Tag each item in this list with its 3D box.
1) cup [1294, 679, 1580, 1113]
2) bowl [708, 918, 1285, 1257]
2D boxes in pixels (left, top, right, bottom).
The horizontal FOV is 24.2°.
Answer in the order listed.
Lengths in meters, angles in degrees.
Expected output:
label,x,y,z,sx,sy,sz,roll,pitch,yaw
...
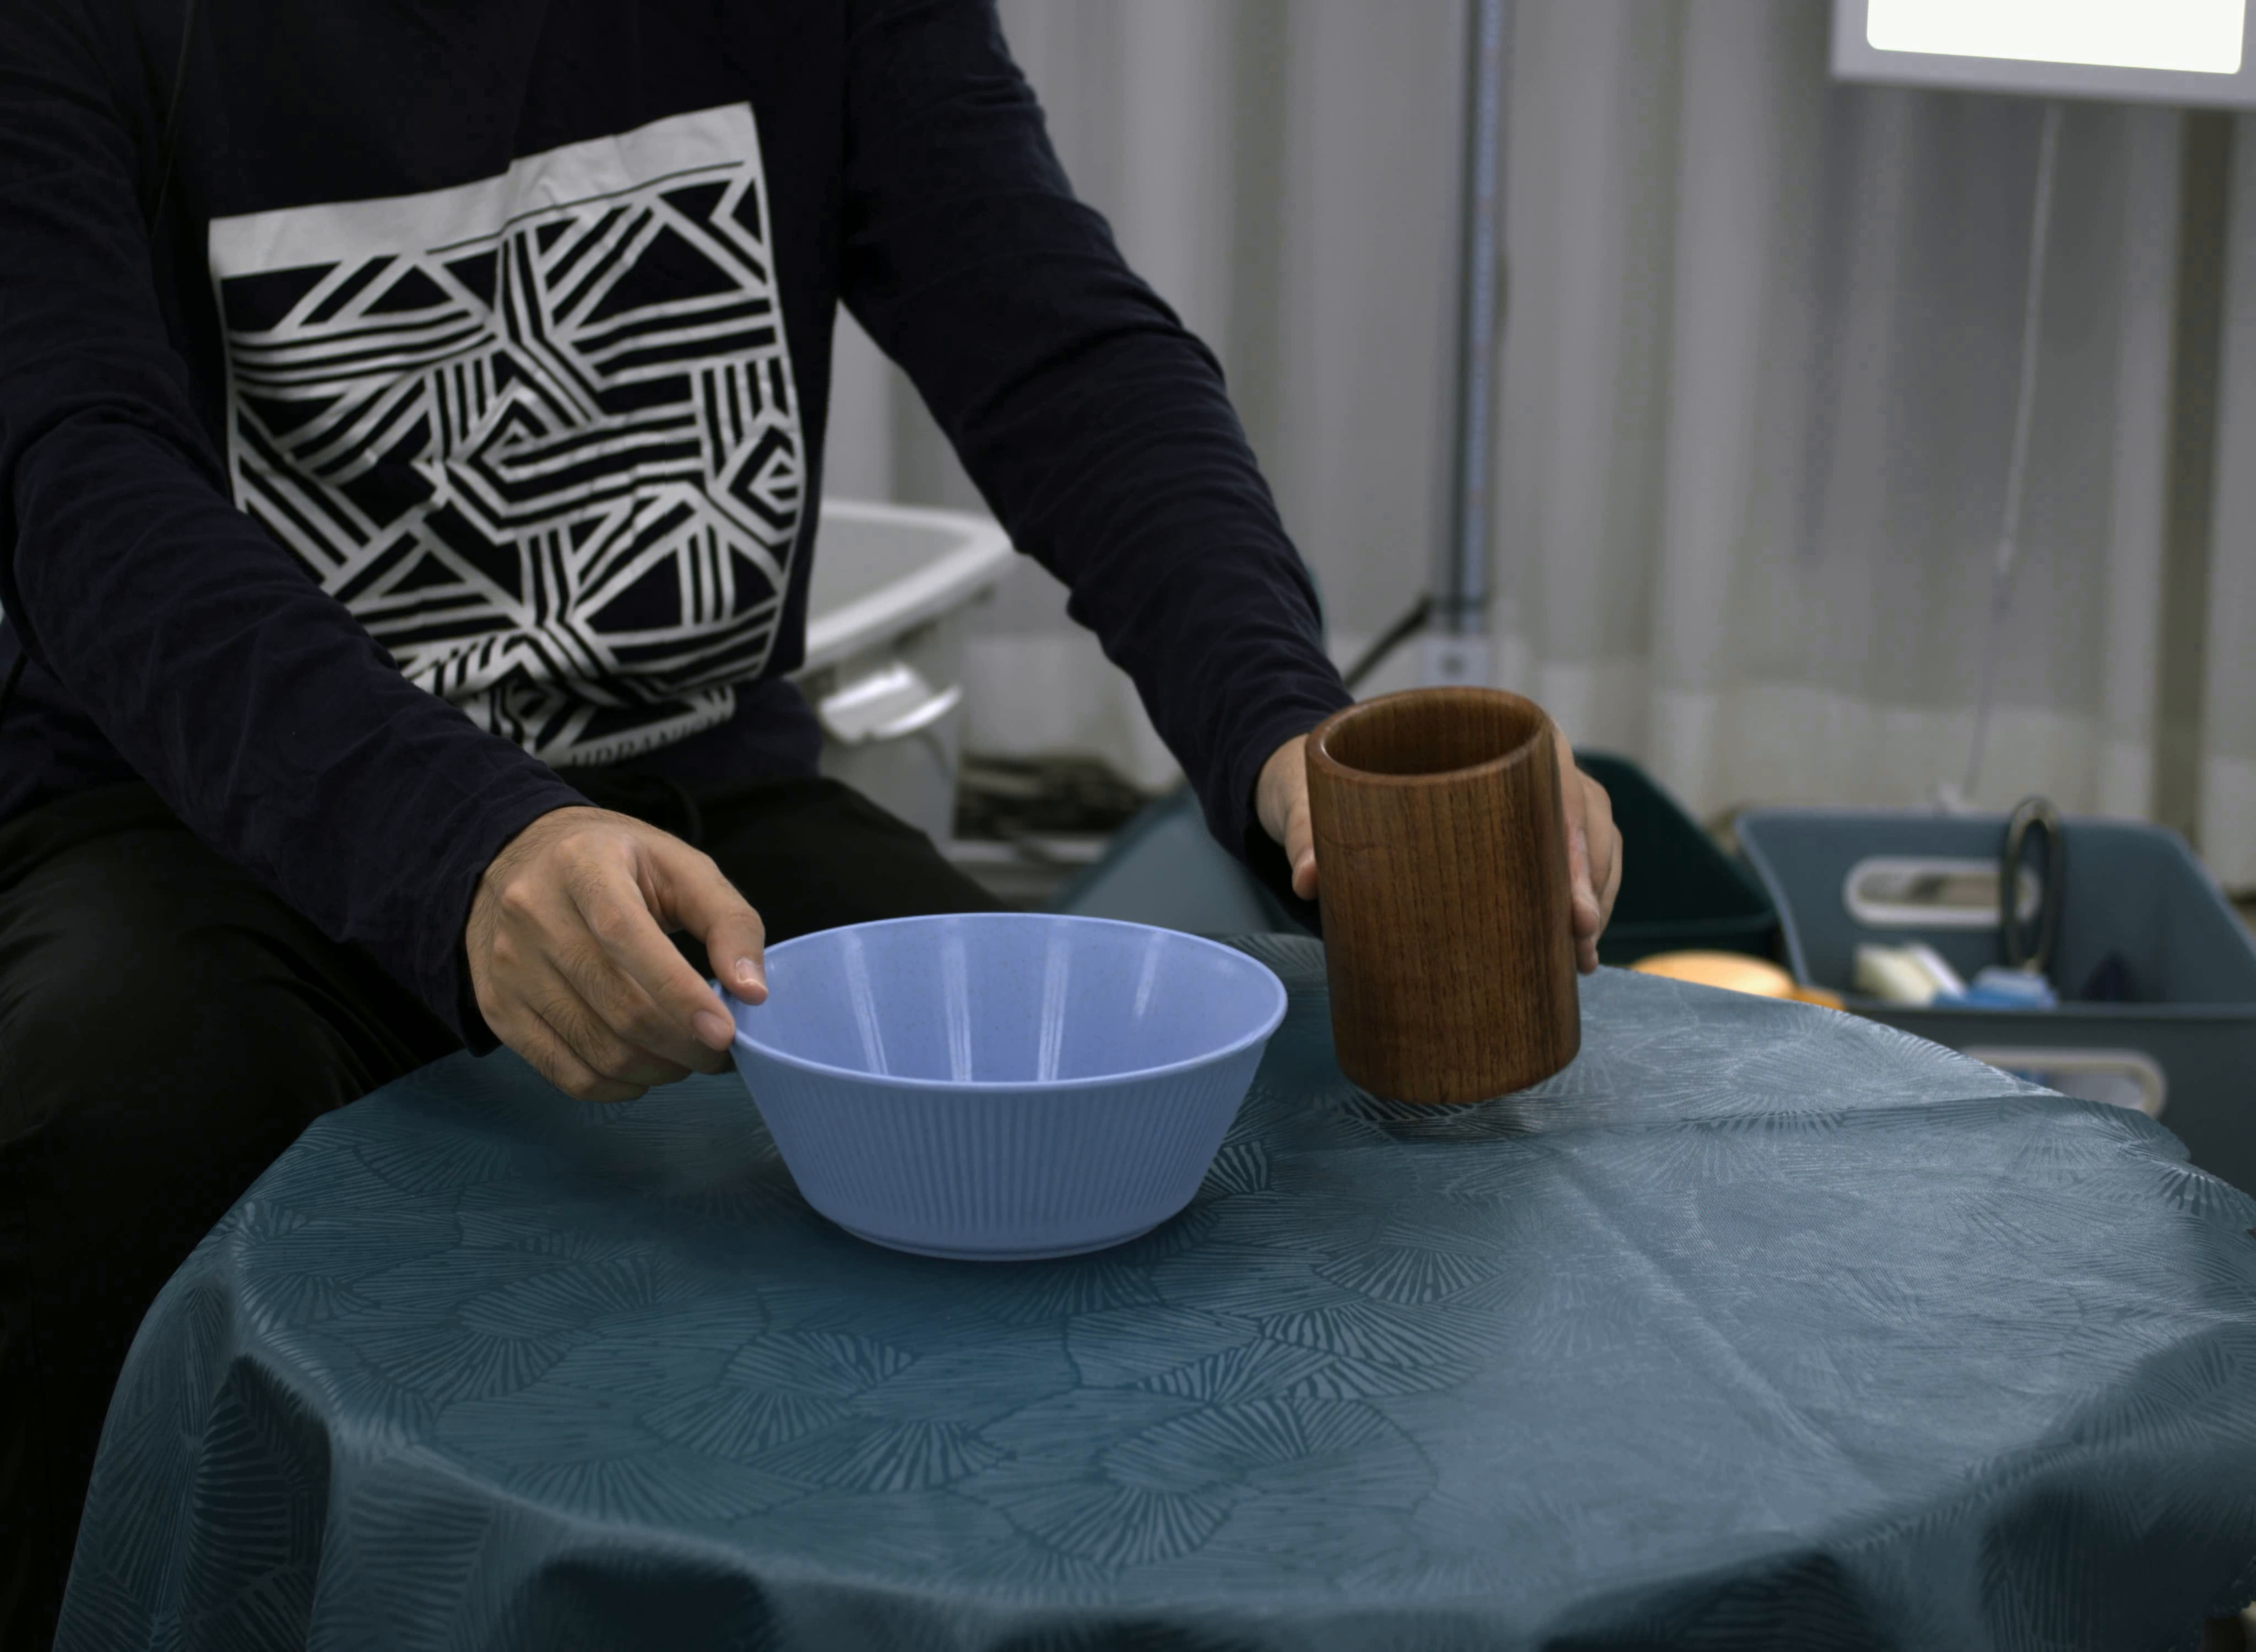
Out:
label,x,y,z,sx,sy,sz,roll,pitch,yaw
cup,0.100,0.022,1.671,0.087,0.119,0.087,-5,21,2
bowl,-0.040,0.082,1.604,0.175,0.071,0.175,1,15,0
